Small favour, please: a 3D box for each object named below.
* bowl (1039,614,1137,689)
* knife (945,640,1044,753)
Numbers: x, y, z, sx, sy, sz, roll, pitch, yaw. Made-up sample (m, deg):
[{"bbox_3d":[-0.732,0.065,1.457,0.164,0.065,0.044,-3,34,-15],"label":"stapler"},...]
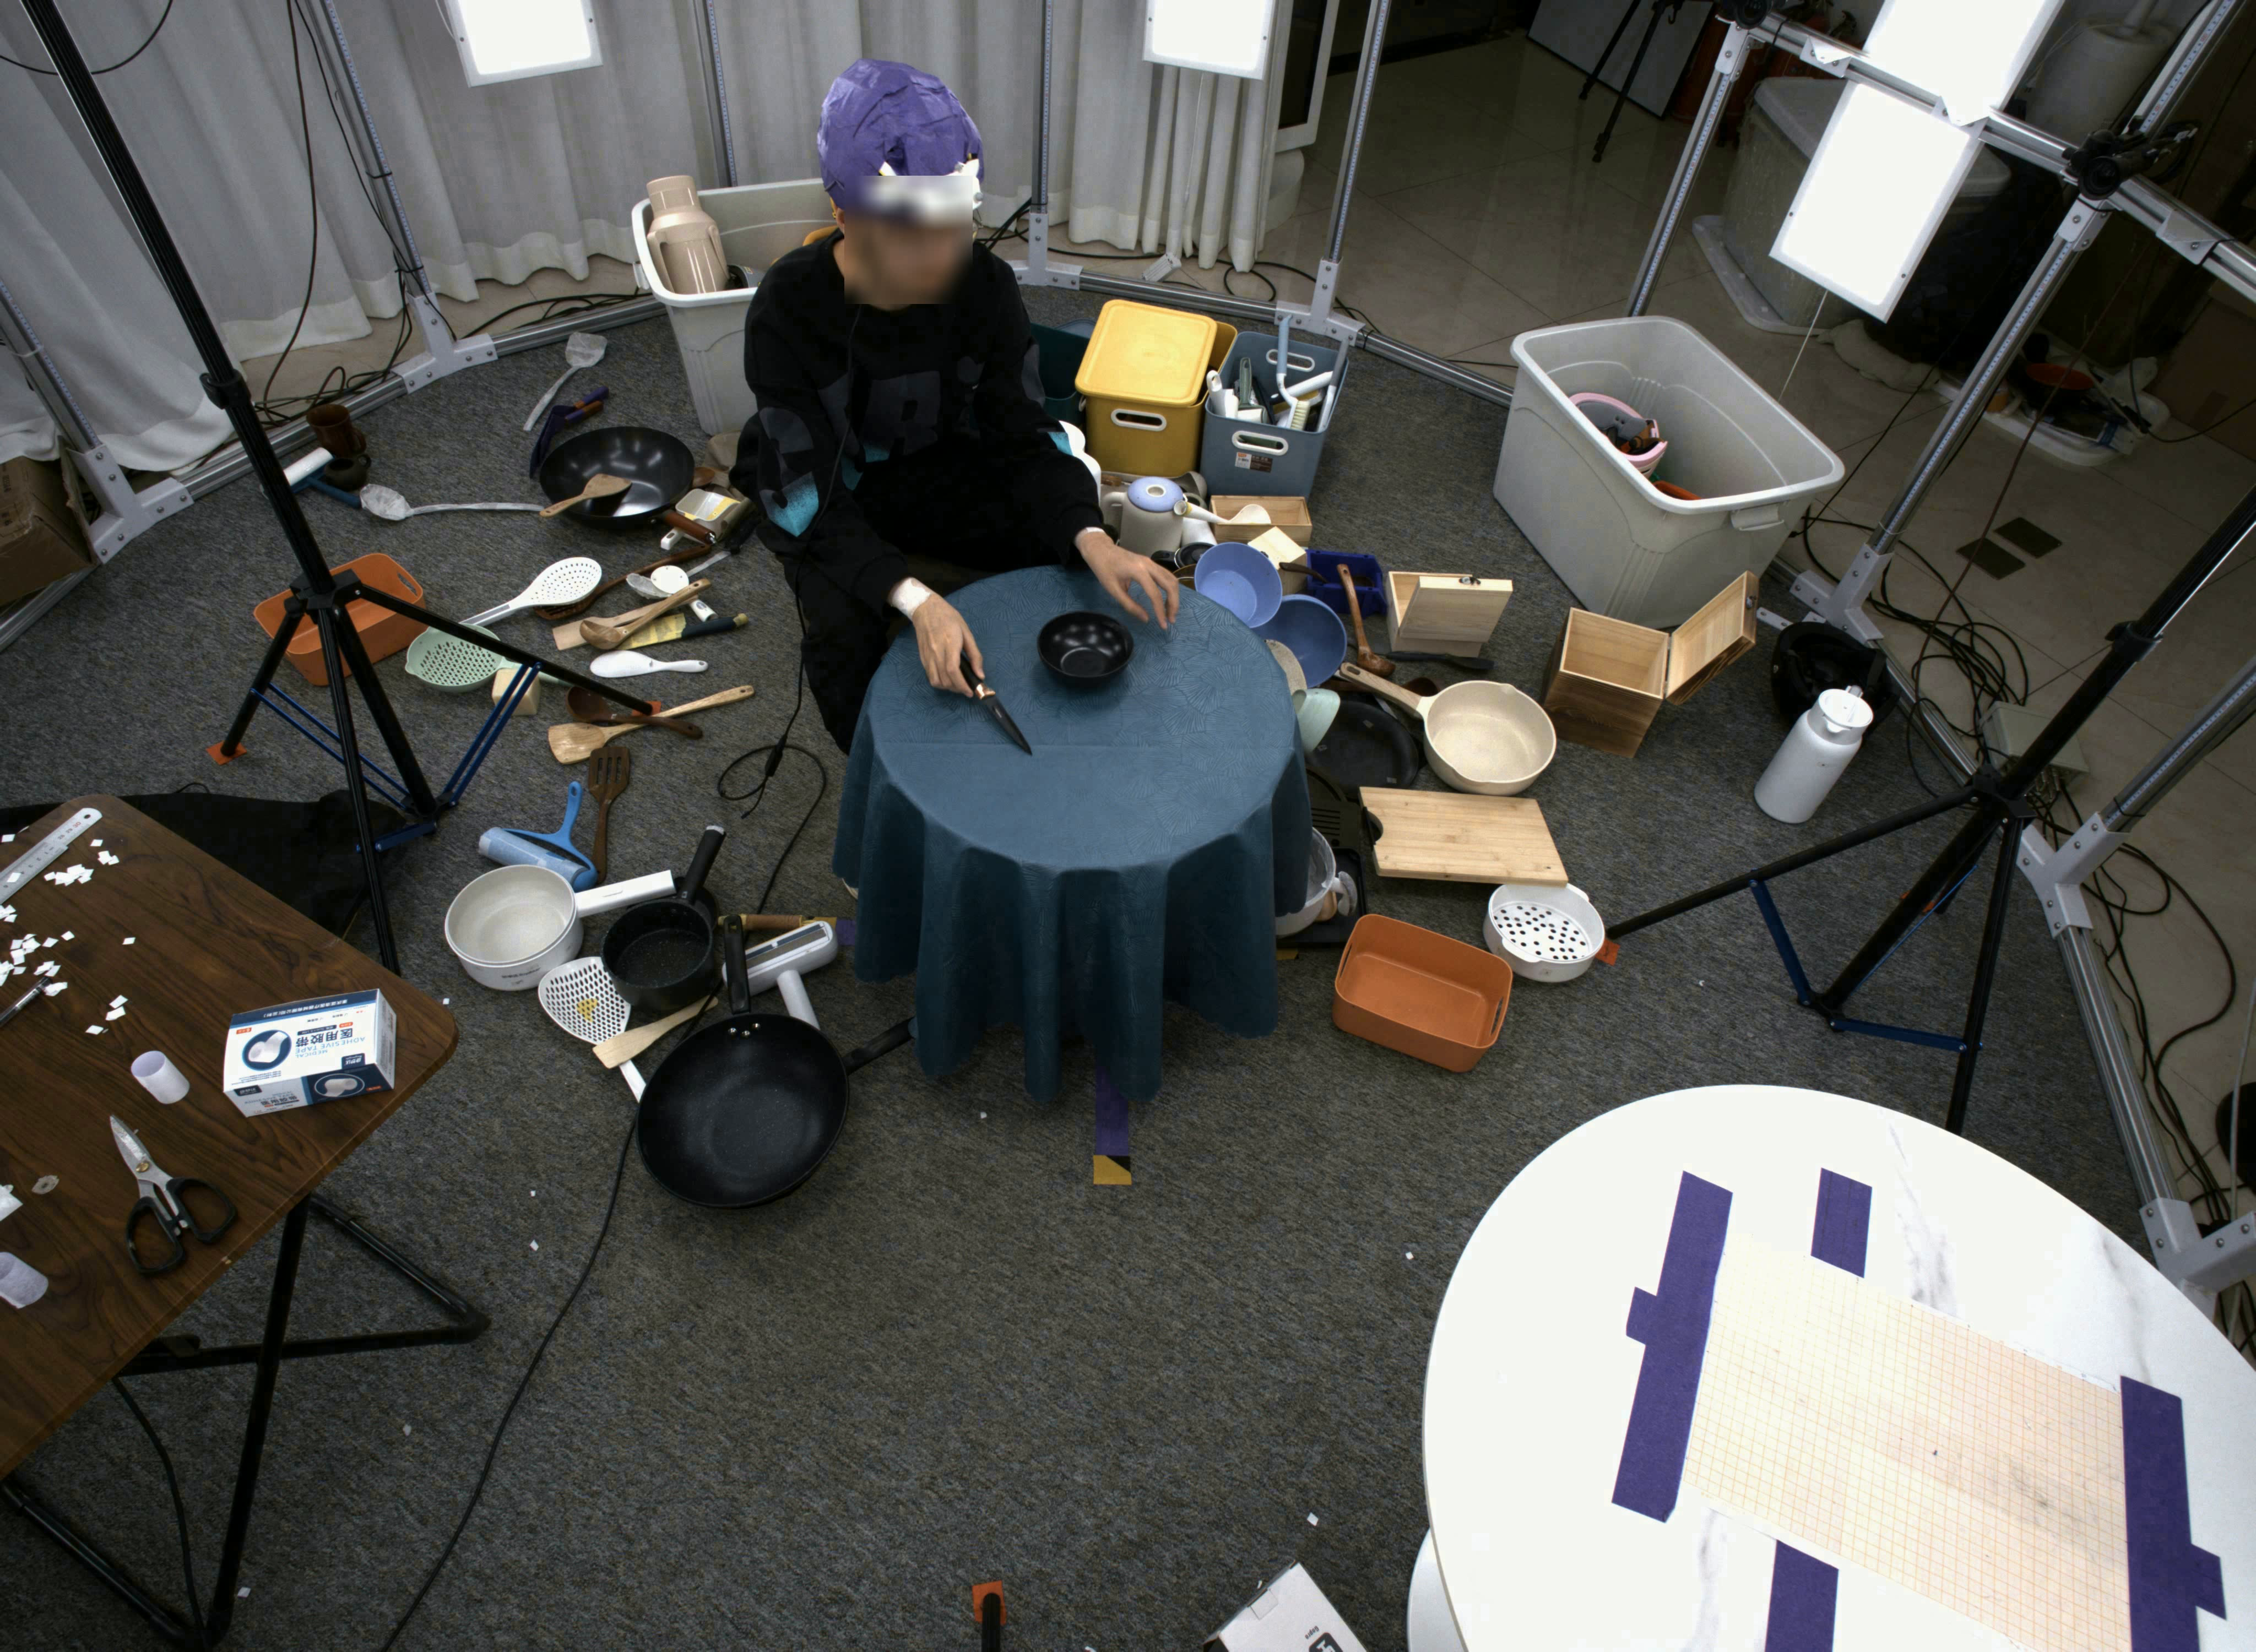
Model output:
[{"bbox_3d":[-0.057,-0.243,1.848,0.140,0.048,0.143,-1,47,0],"label":"bowl"},{"bbox_3d":[-0.187,-0.180,1.787,0.026,0.017,0.229,-20,61,-39],"label":"knife"}]
